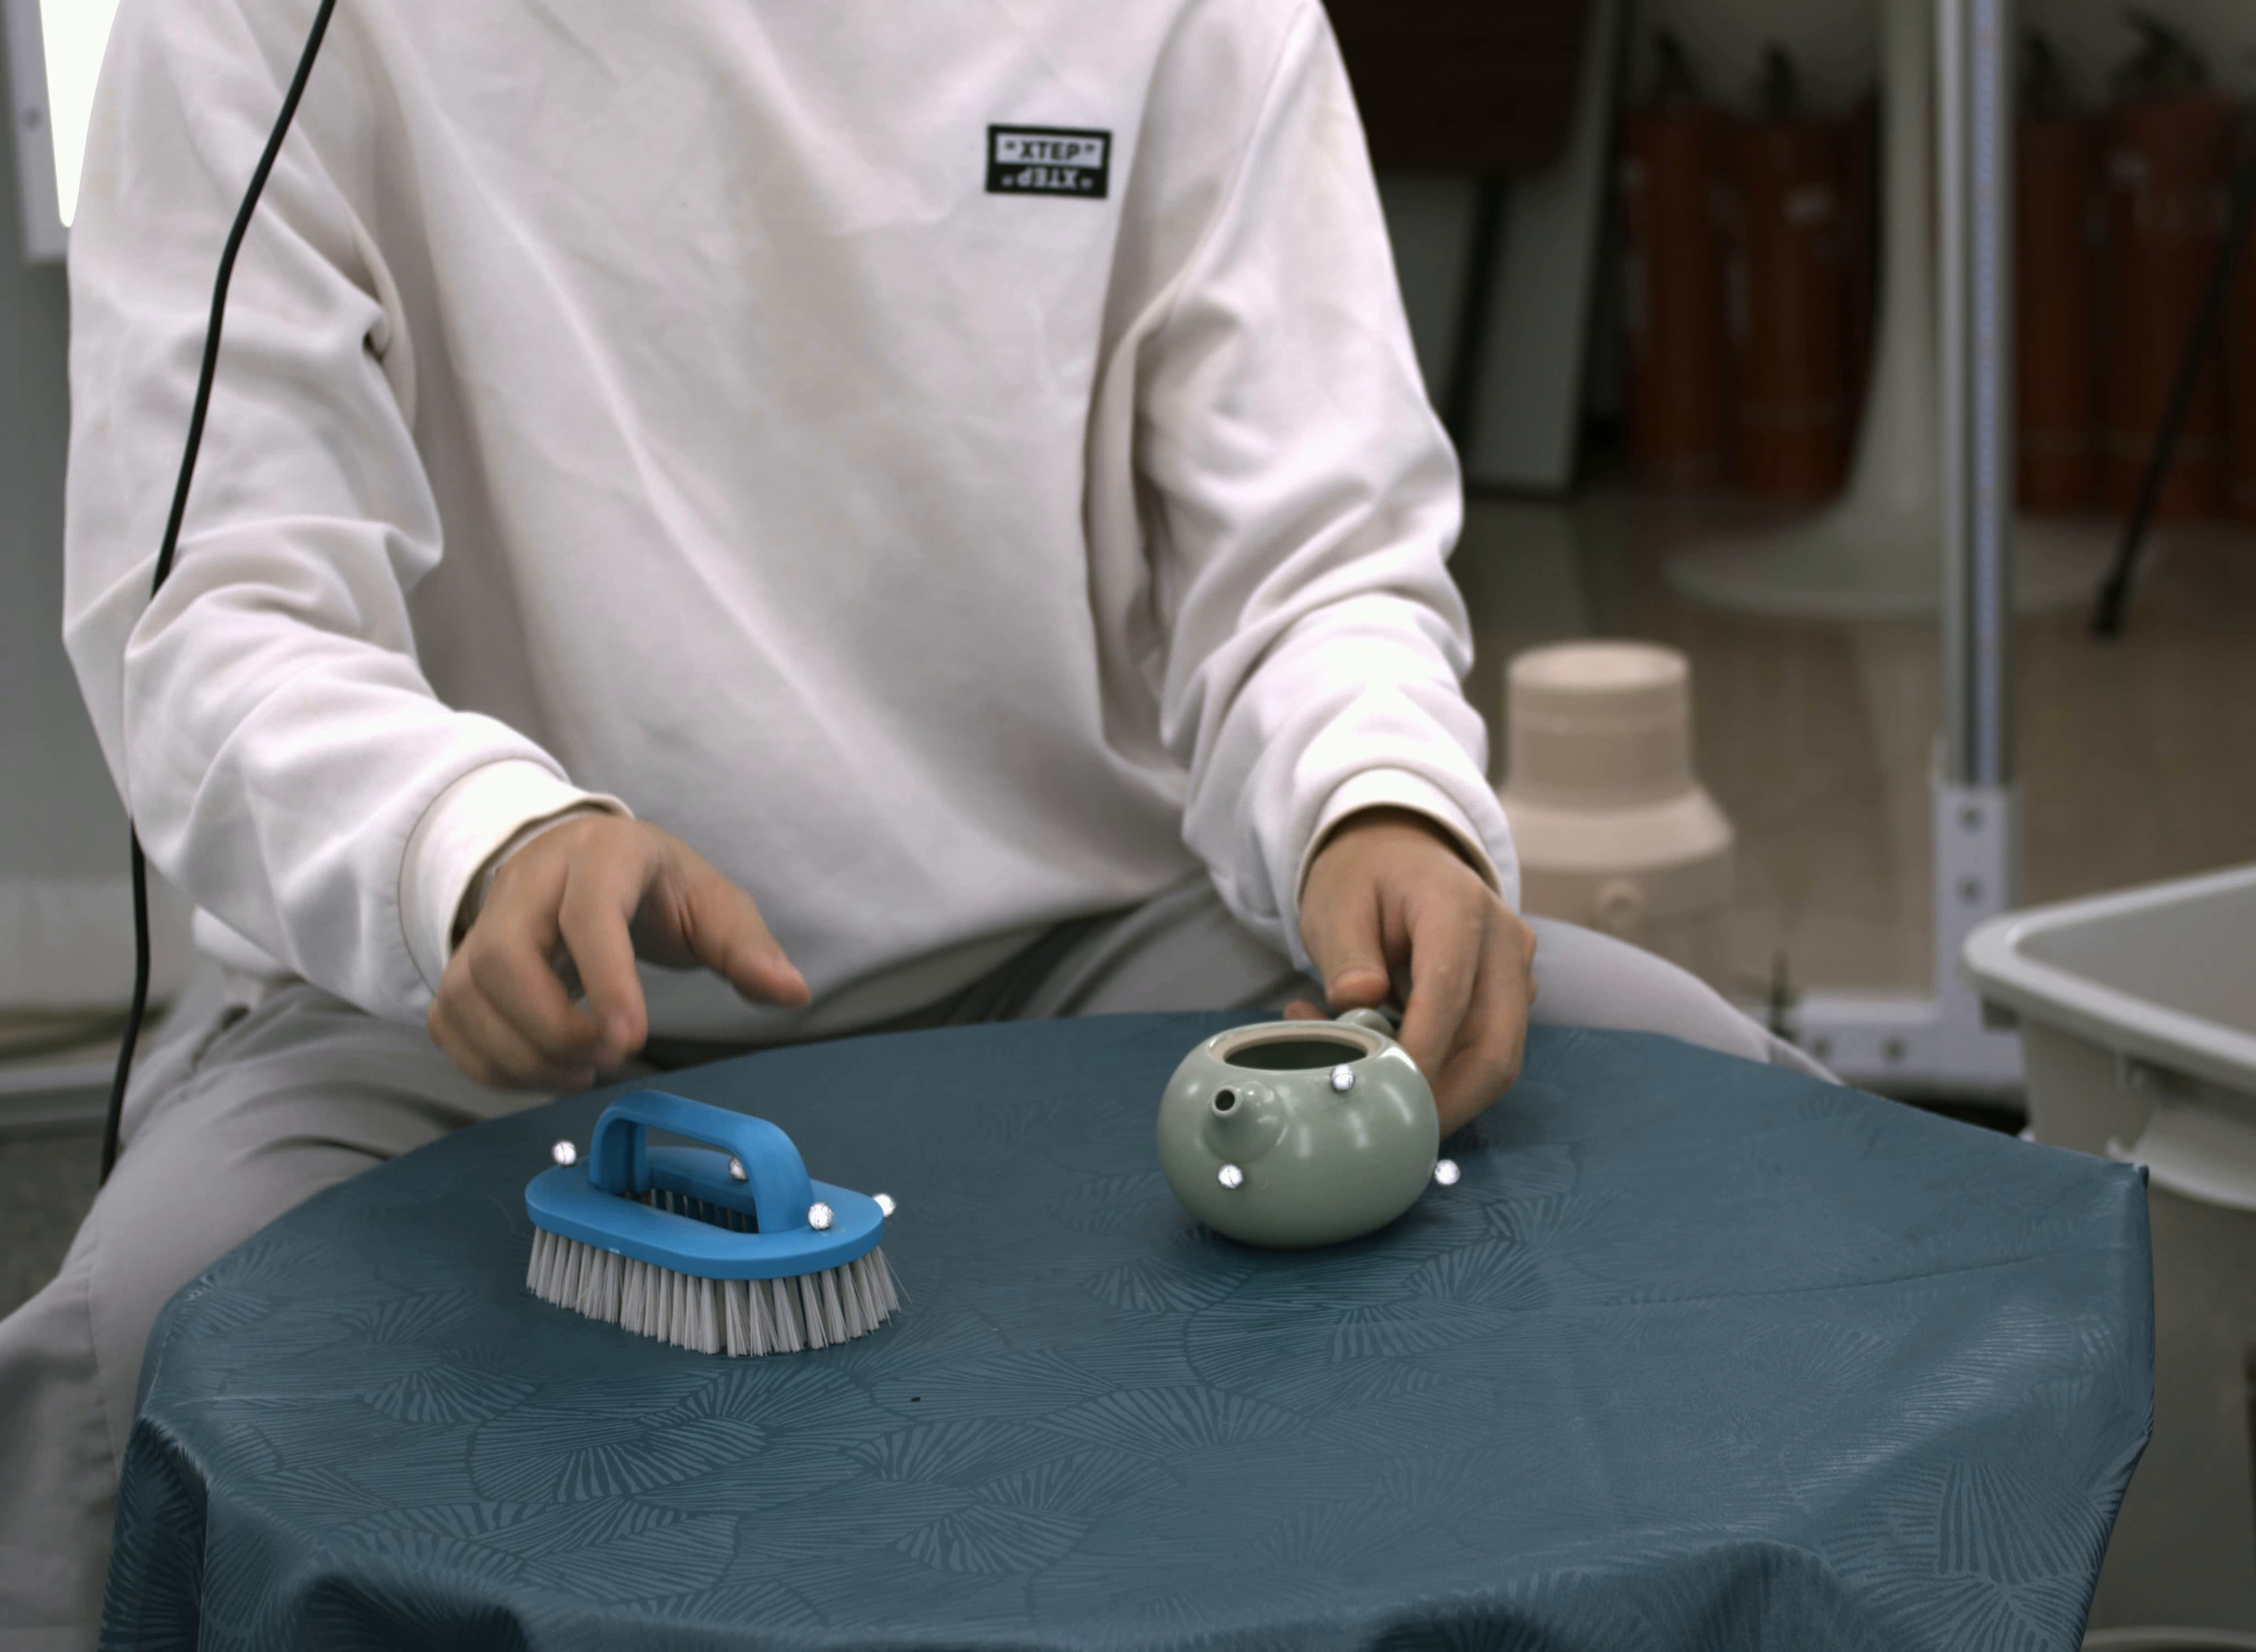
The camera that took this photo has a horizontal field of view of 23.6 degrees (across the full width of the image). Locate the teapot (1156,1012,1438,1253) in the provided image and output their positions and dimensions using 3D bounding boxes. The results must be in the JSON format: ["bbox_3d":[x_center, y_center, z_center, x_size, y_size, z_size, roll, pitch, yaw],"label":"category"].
[{"bbox_3d":[0.059,0.098,1.732,0.092,0.061,0.126,2,13,33],"label":"teapot"}]

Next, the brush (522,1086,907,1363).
[{"bbox_3d":[-0.133,0.117,1.688,0.082,0.064,0.143,-21,21,-38],"label":"brush"}]
